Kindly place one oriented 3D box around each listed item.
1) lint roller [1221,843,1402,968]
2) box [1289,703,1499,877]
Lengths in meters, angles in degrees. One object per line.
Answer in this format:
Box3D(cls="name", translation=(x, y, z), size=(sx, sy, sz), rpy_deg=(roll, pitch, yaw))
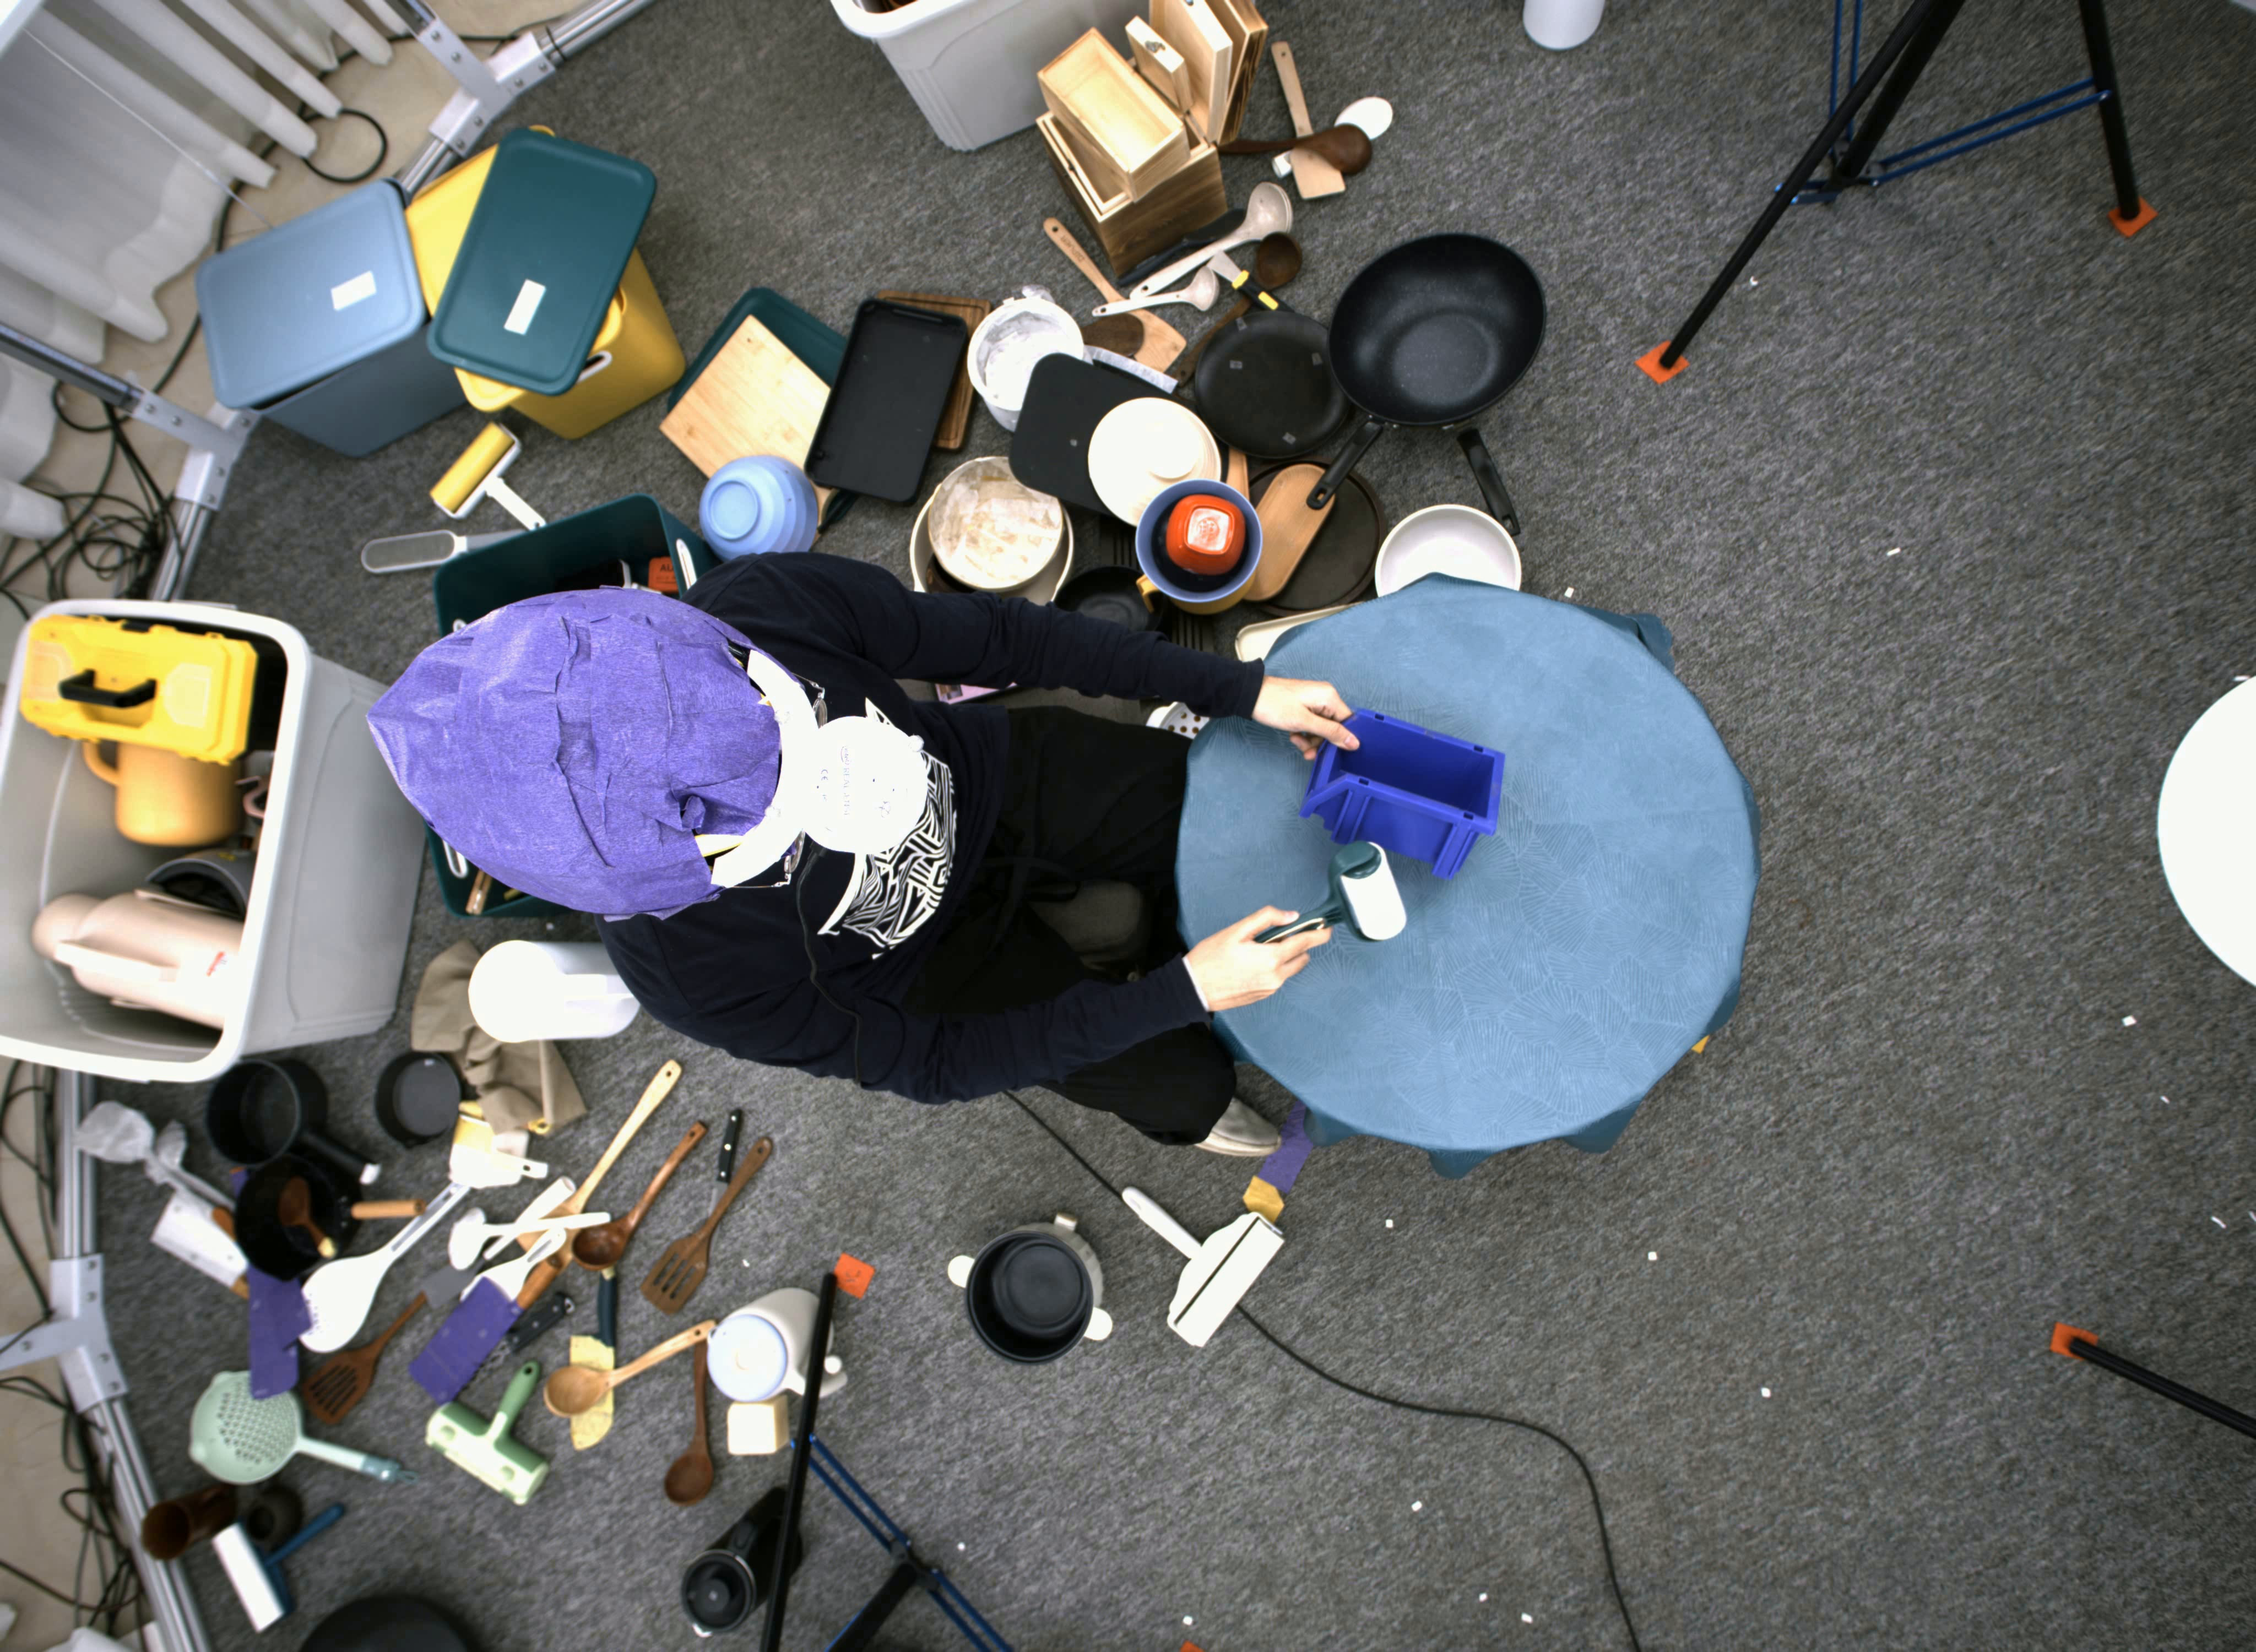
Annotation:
Box3D(cls="lint roller", translation=(0.175, 0.098, 1.337), size=(0.180, 0.137, 0.047), rpy_deg=(-32, 47, 0))
Box3D(cls="box", translation=(0.263, -0.040, 1.370), size=(0.179, 0.084, 0.121), rpy_deg=(21, 46, 4))
